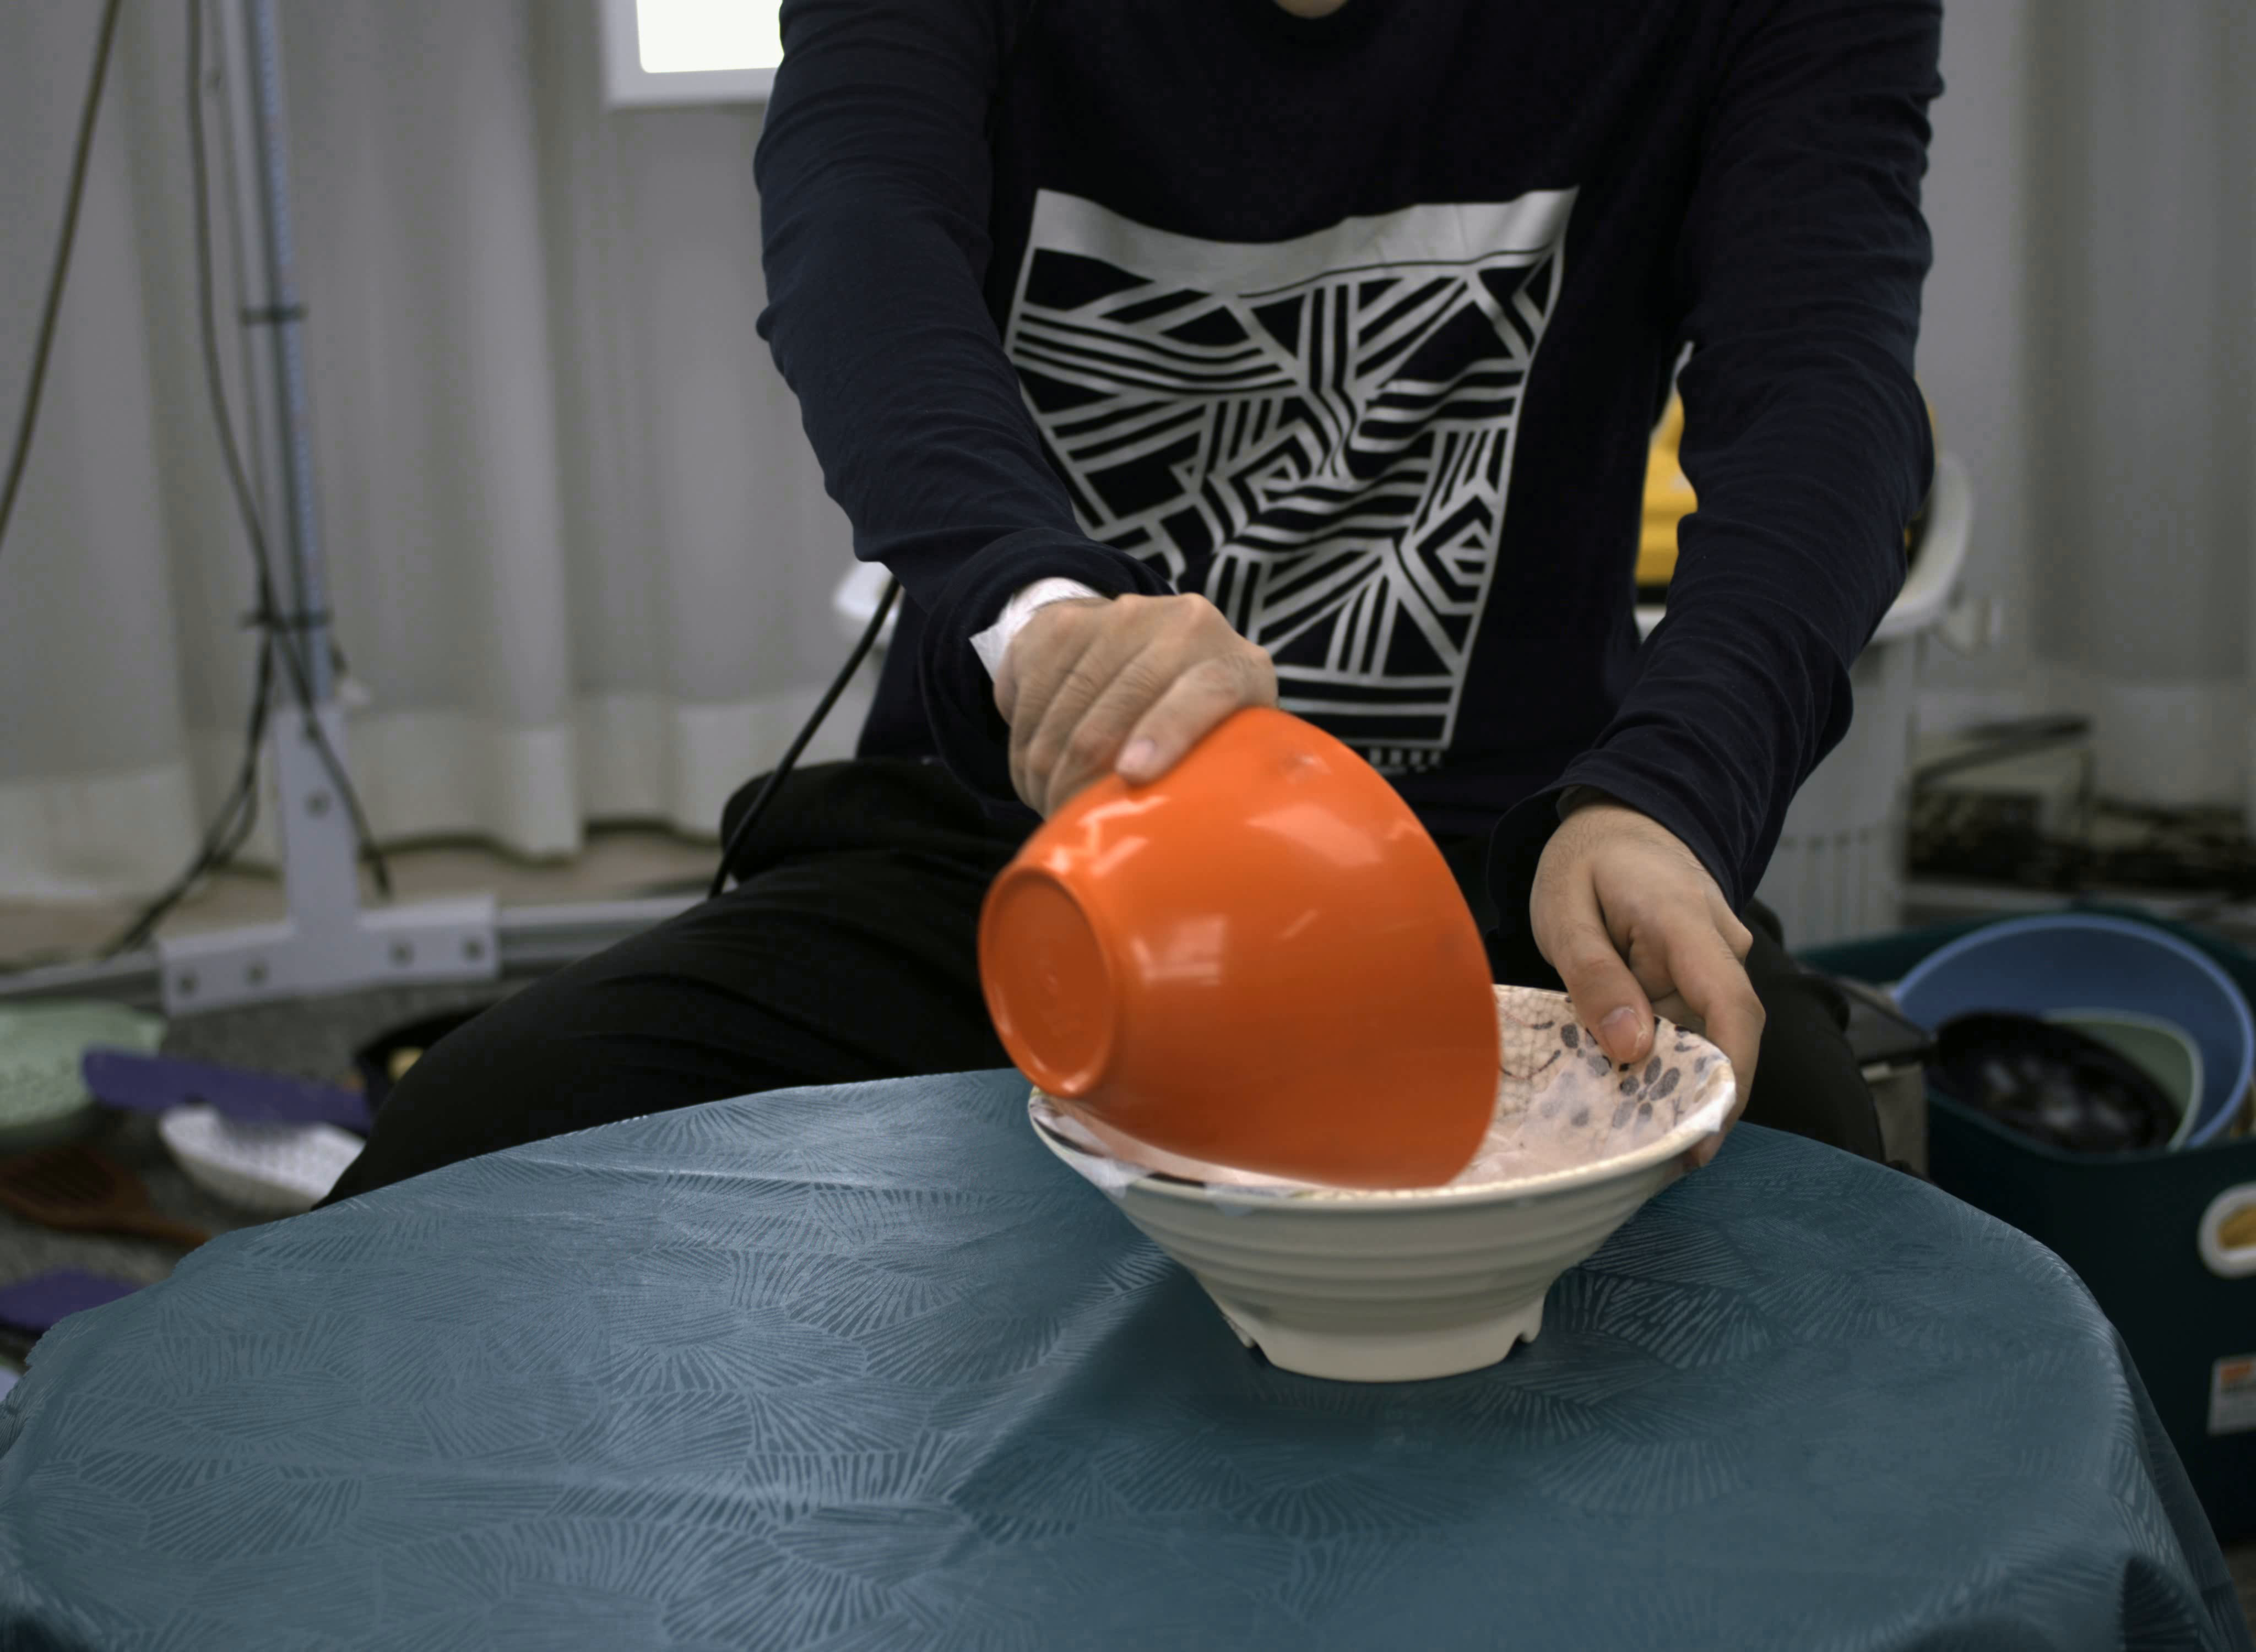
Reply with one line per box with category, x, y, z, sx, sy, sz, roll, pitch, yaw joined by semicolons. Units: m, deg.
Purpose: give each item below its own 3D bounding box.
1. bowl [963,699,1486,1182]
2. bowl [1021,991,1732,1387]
bowl;0.018;0.042;1.524;0.104;0.147;0.149;-11;17;-33
bowl;0.071;0.110;1.572;0.203;0.077;0.205;-1;14;0
